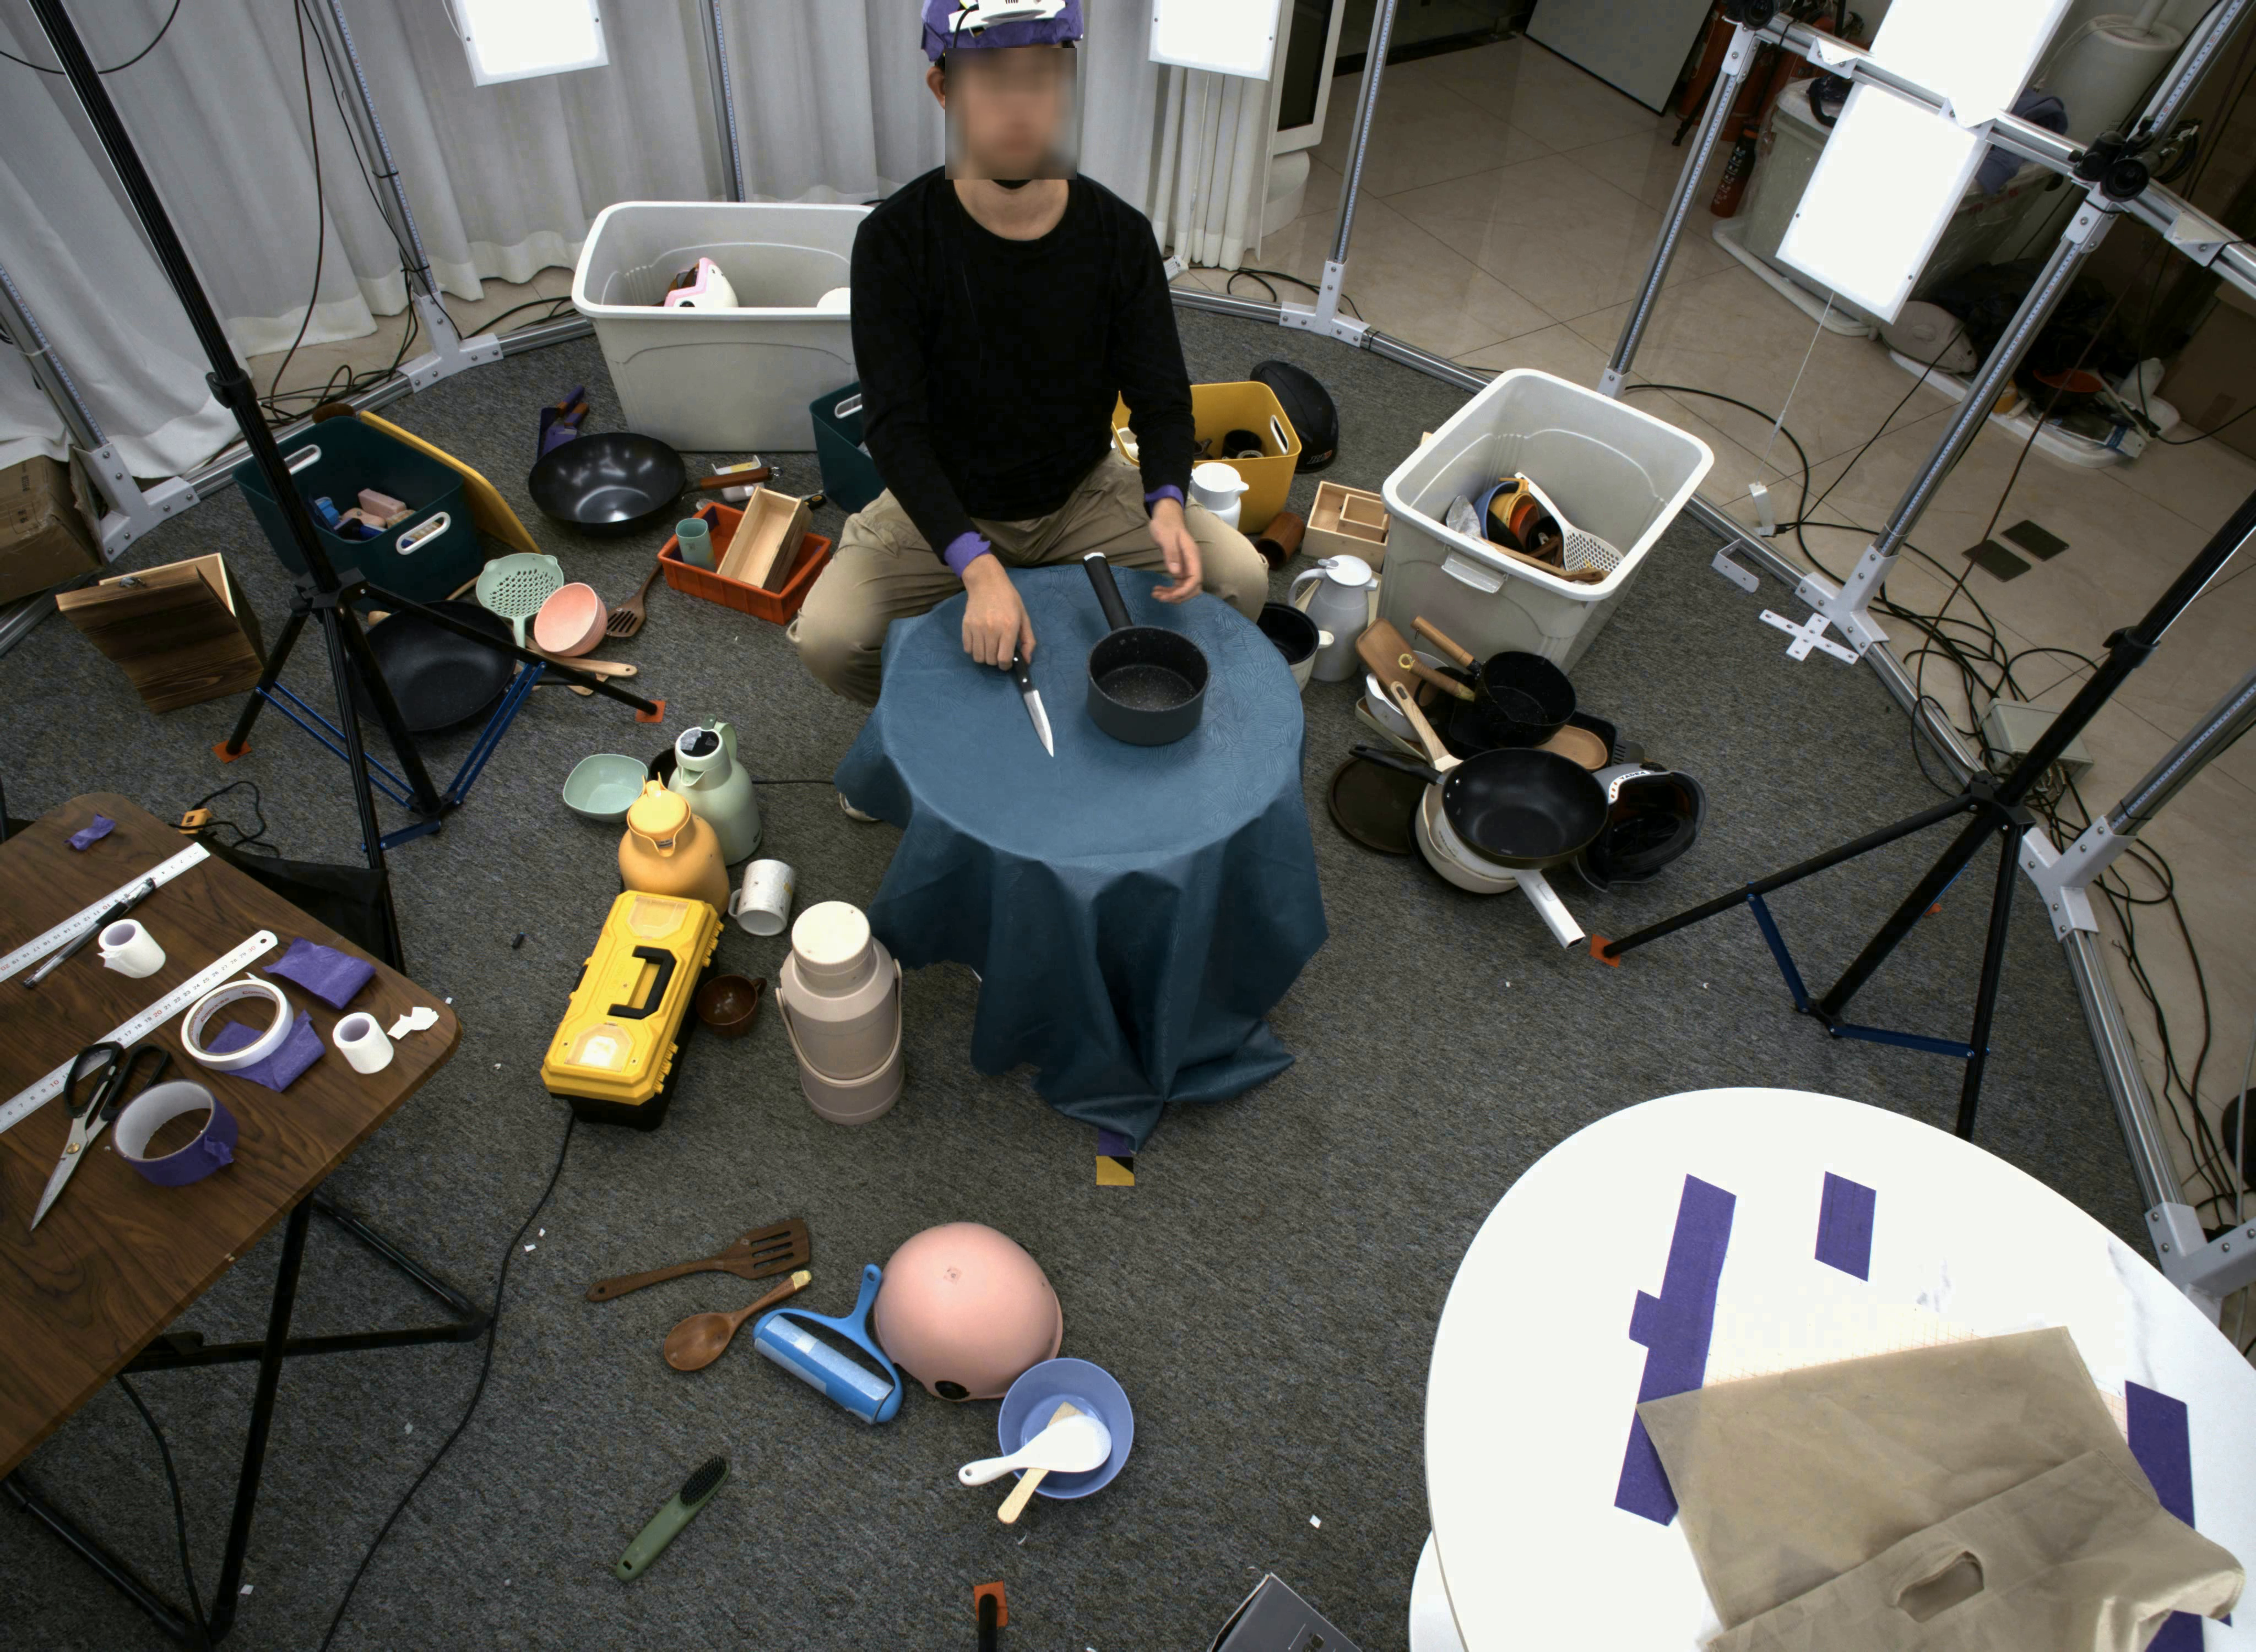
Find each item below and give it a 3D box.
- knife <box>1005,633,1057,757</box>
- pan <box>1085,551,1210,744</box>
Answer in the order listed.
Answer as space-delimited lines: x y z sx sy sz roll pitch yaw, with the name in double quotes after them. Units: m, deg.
-0.138 -0.186 1.815 0.024 0.016 0.244 -12 54 -13 "knife"
0.004 -0.258 1.838 0.172 0.084 0.337 -10 51 -12 "pan"
